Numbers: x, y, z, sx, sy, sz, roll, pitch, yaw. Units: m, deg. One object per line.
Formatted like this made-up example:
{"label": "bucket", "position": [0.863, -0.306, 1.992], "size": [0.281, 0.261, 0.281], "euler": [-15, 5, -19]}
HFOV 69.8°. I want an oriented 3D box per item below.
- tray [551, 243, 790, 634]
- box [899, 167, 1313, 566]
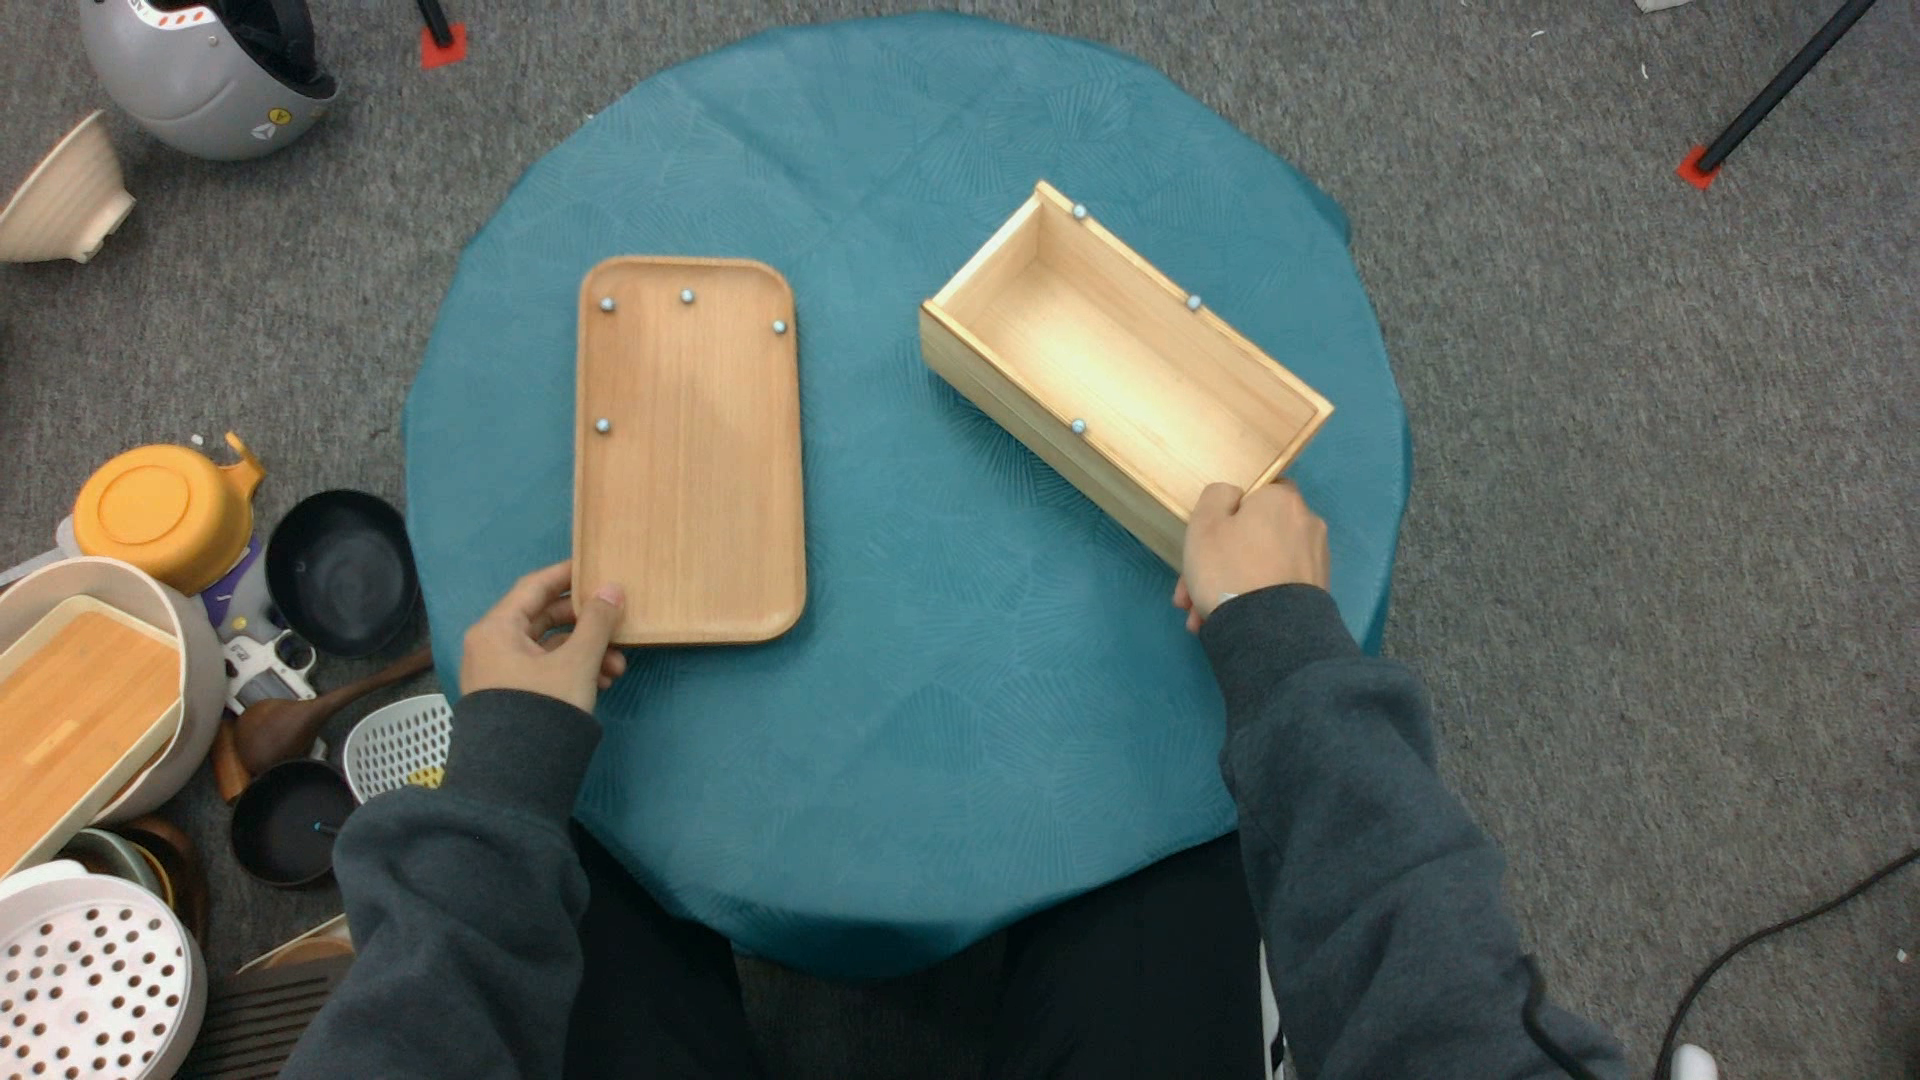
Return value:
{"label": "tray", "position": [-0.168, -0.064, 0.796], "size": [0.130, 0.023, 0.251], "euler": [-2, 67, -9]}
{"label": "box", "position": [0.079, -0.098, 0.791], "size": [0.211, 0.080, 0.108], "euler": [40, 77, 9]}
